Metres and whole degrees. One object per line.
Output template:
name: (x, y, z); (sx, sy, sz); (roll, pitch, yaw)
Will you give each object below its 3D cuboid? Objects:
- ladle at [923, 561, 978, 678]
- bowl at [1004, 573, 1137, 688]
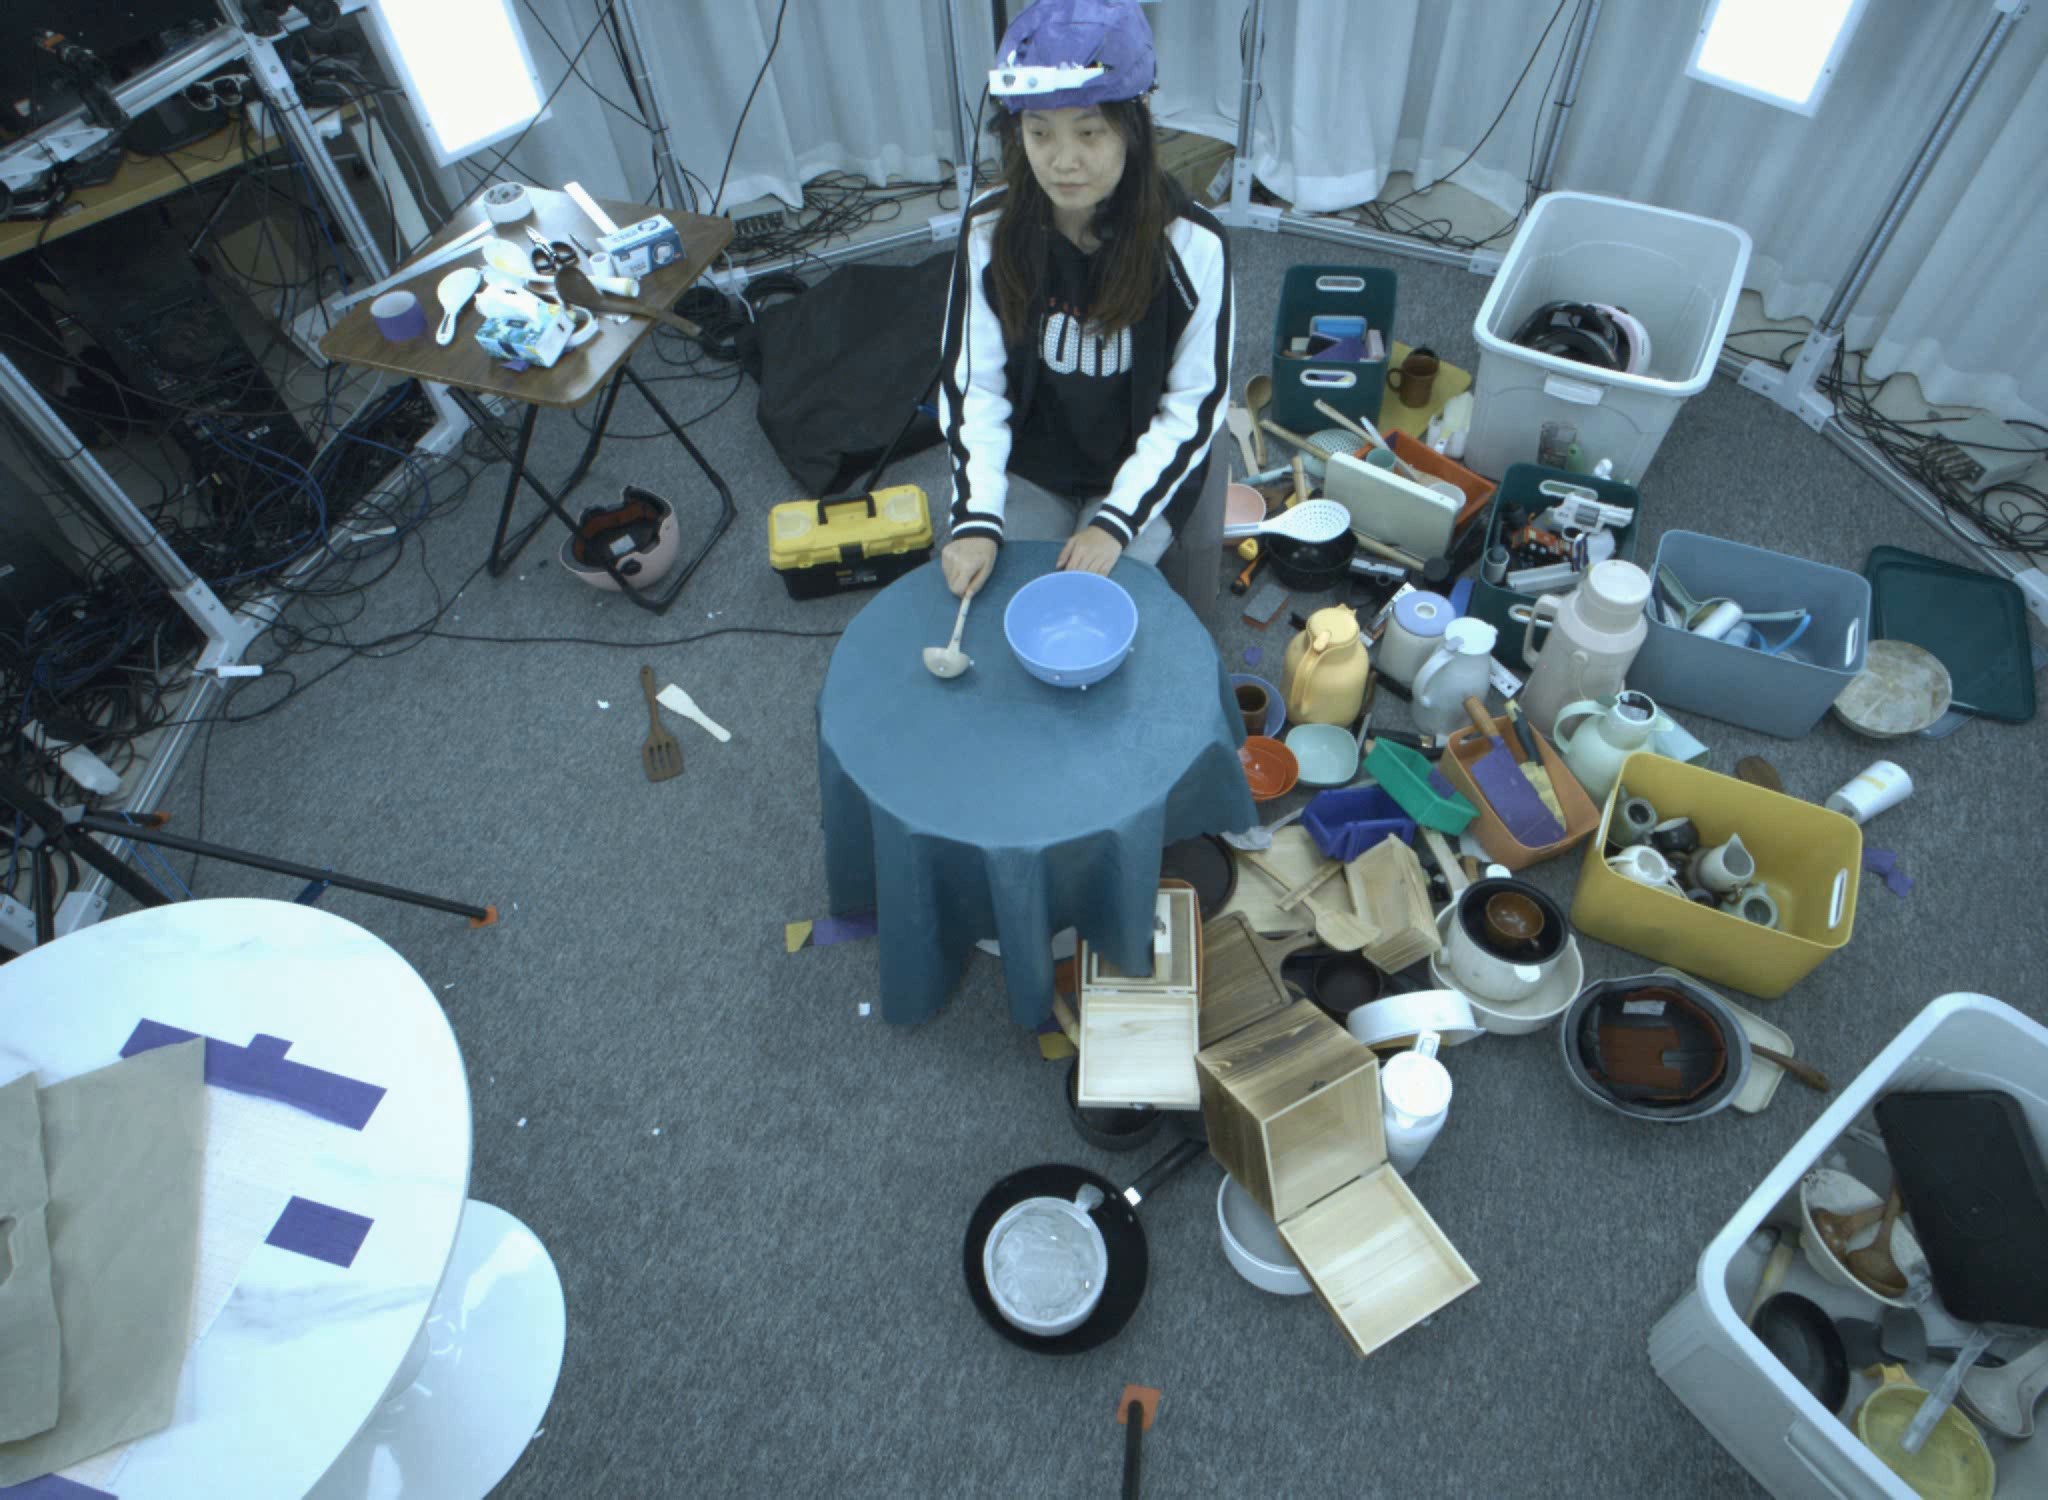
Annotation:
ladle: (-0.102, -0.223, 1.899); (0.072, 0.073, 0.253); (8, 58, 4)
bowl: (0.071, -0.164, 1.848); (0.196, 0.096, 0.194); (-2, 54, 3)
